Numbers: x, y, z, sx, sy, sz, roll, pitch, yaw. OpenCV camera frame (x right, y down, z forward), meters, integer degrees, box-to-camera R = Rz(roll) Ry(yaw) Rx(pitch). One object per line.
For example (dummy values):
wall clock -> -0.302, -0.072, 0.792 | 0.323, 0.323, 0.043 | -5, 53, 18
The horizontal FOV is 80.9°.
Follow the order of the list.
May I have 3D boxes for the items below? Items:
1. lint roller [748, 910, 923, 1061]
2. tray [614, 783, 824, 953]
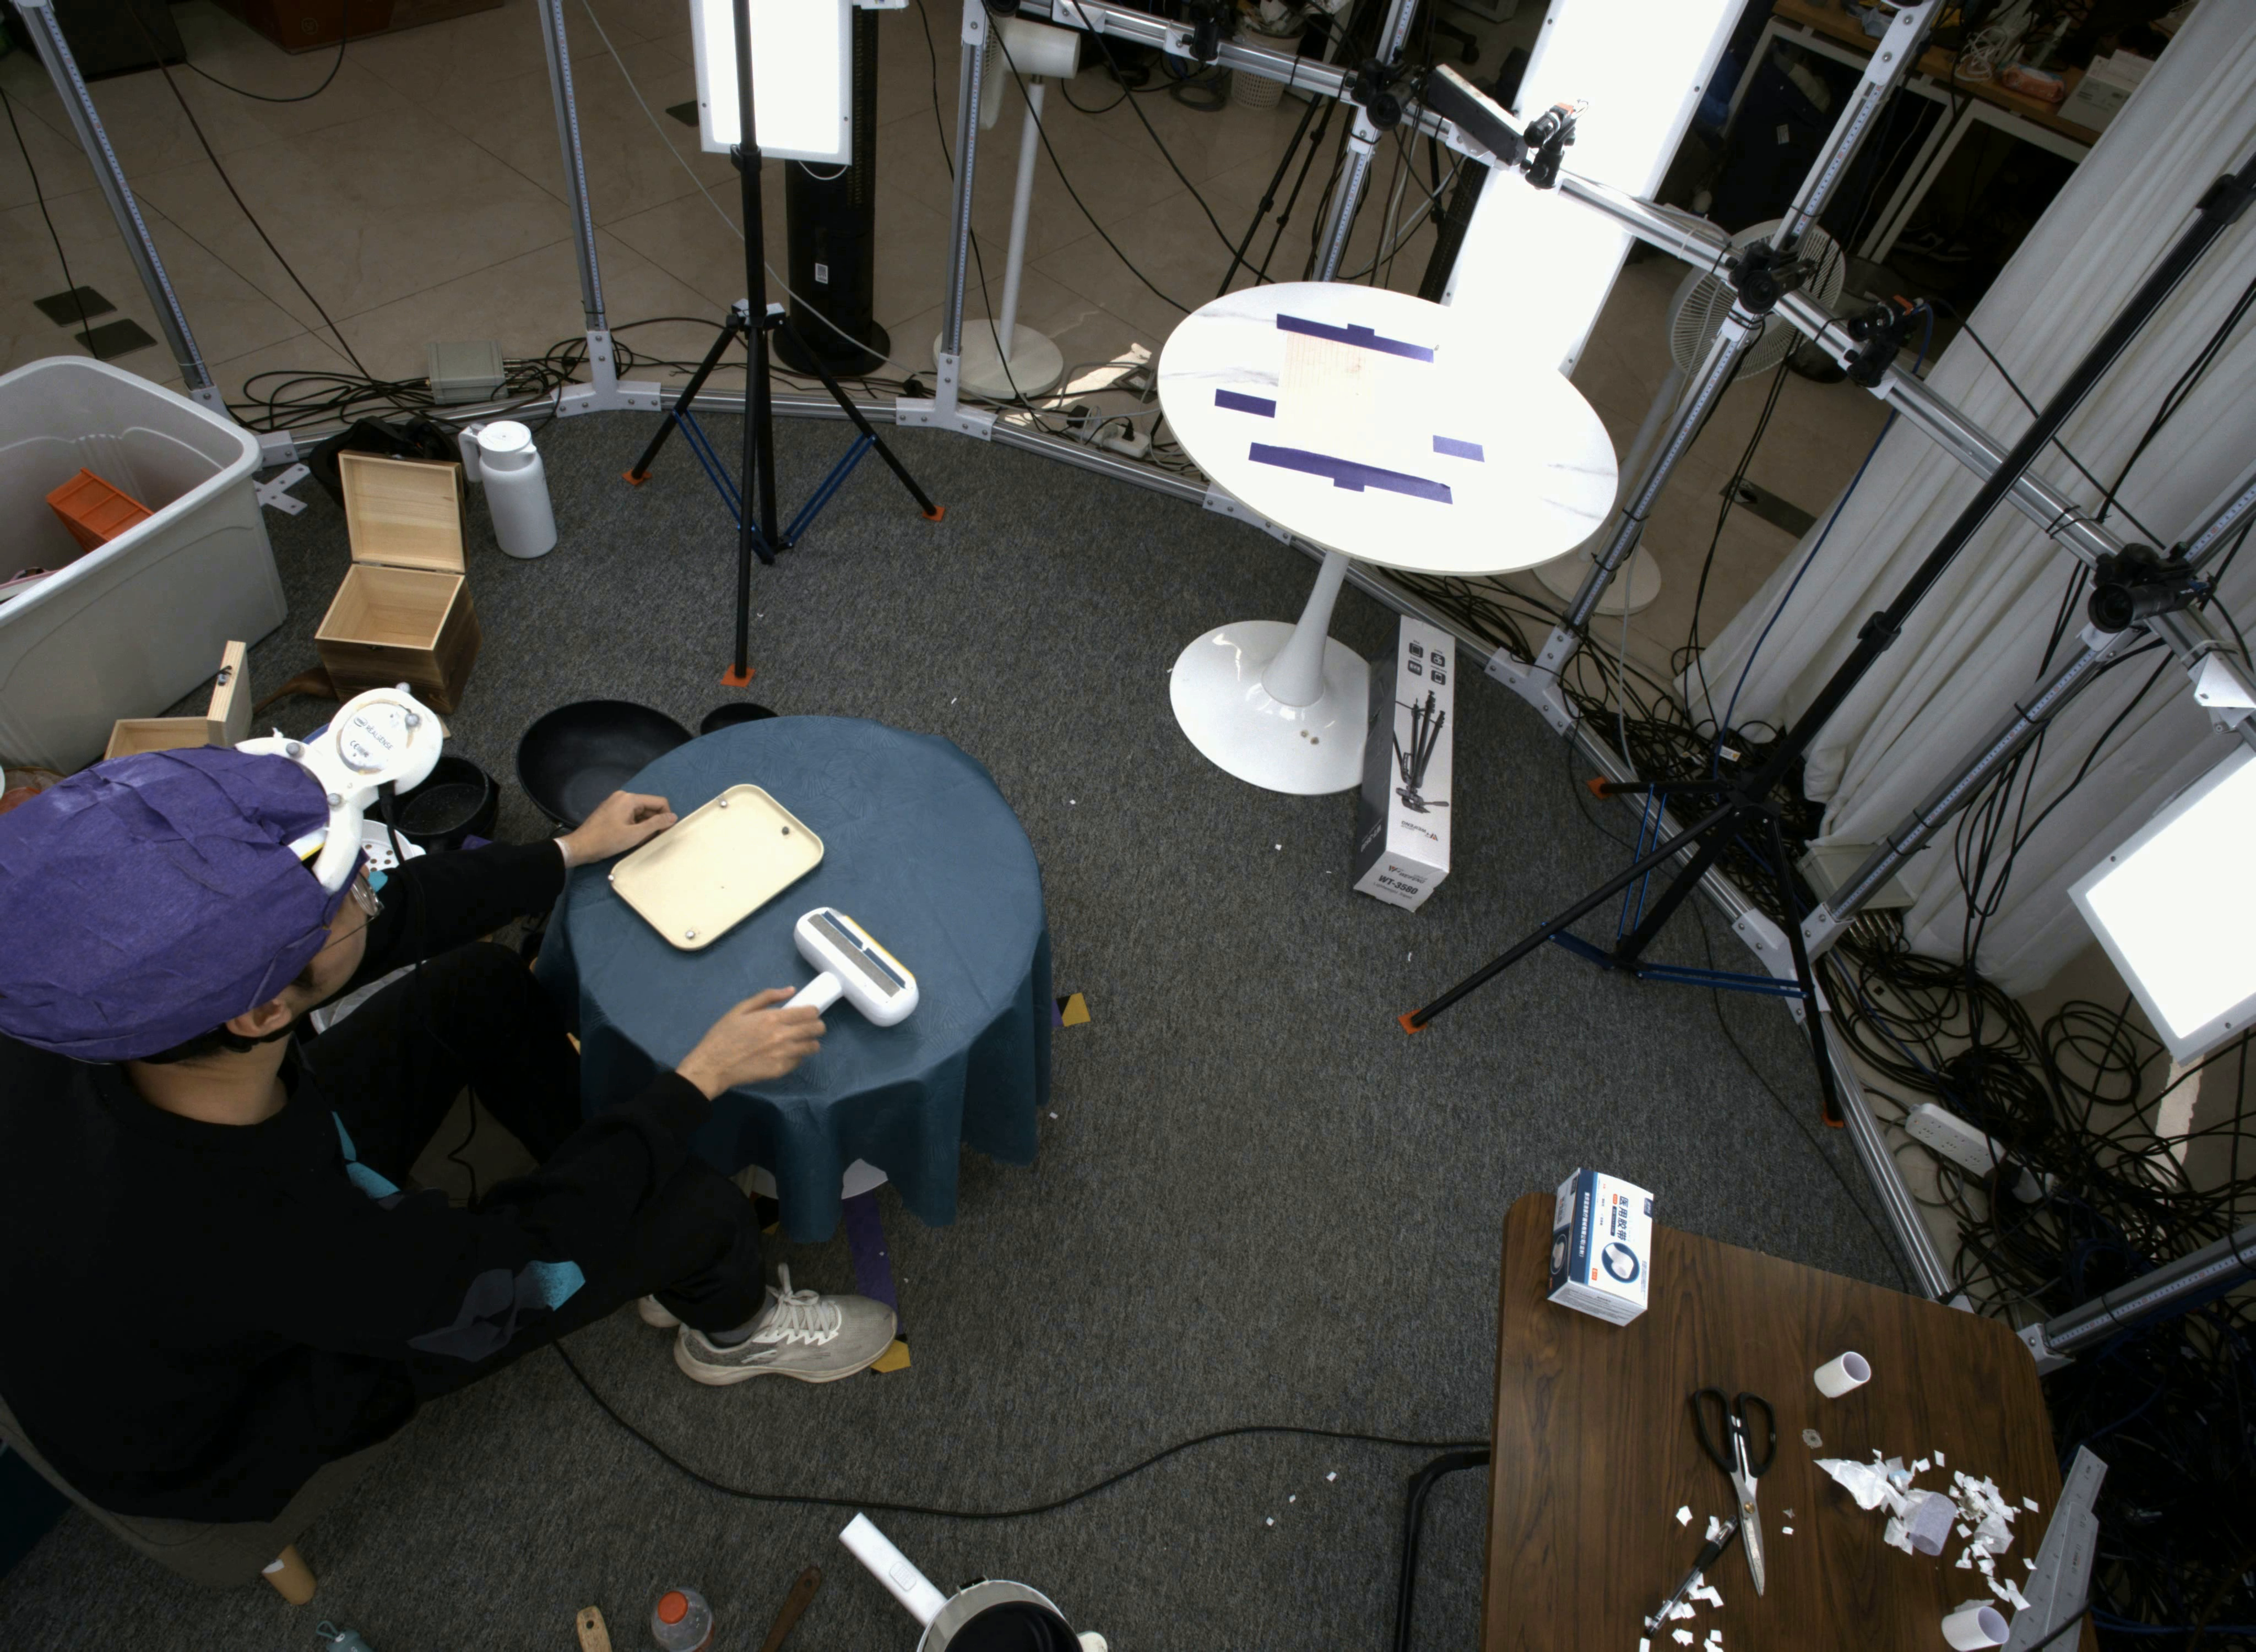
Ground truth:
lint roller -> -0.369, 0.204, 1.550 | 0.193, 0.076, 0.187 | -32, 62, -30
tray -> -0.523, 0.050, 1.655 | 0.168, 0.018, 0.240 | 39, 54, 14
